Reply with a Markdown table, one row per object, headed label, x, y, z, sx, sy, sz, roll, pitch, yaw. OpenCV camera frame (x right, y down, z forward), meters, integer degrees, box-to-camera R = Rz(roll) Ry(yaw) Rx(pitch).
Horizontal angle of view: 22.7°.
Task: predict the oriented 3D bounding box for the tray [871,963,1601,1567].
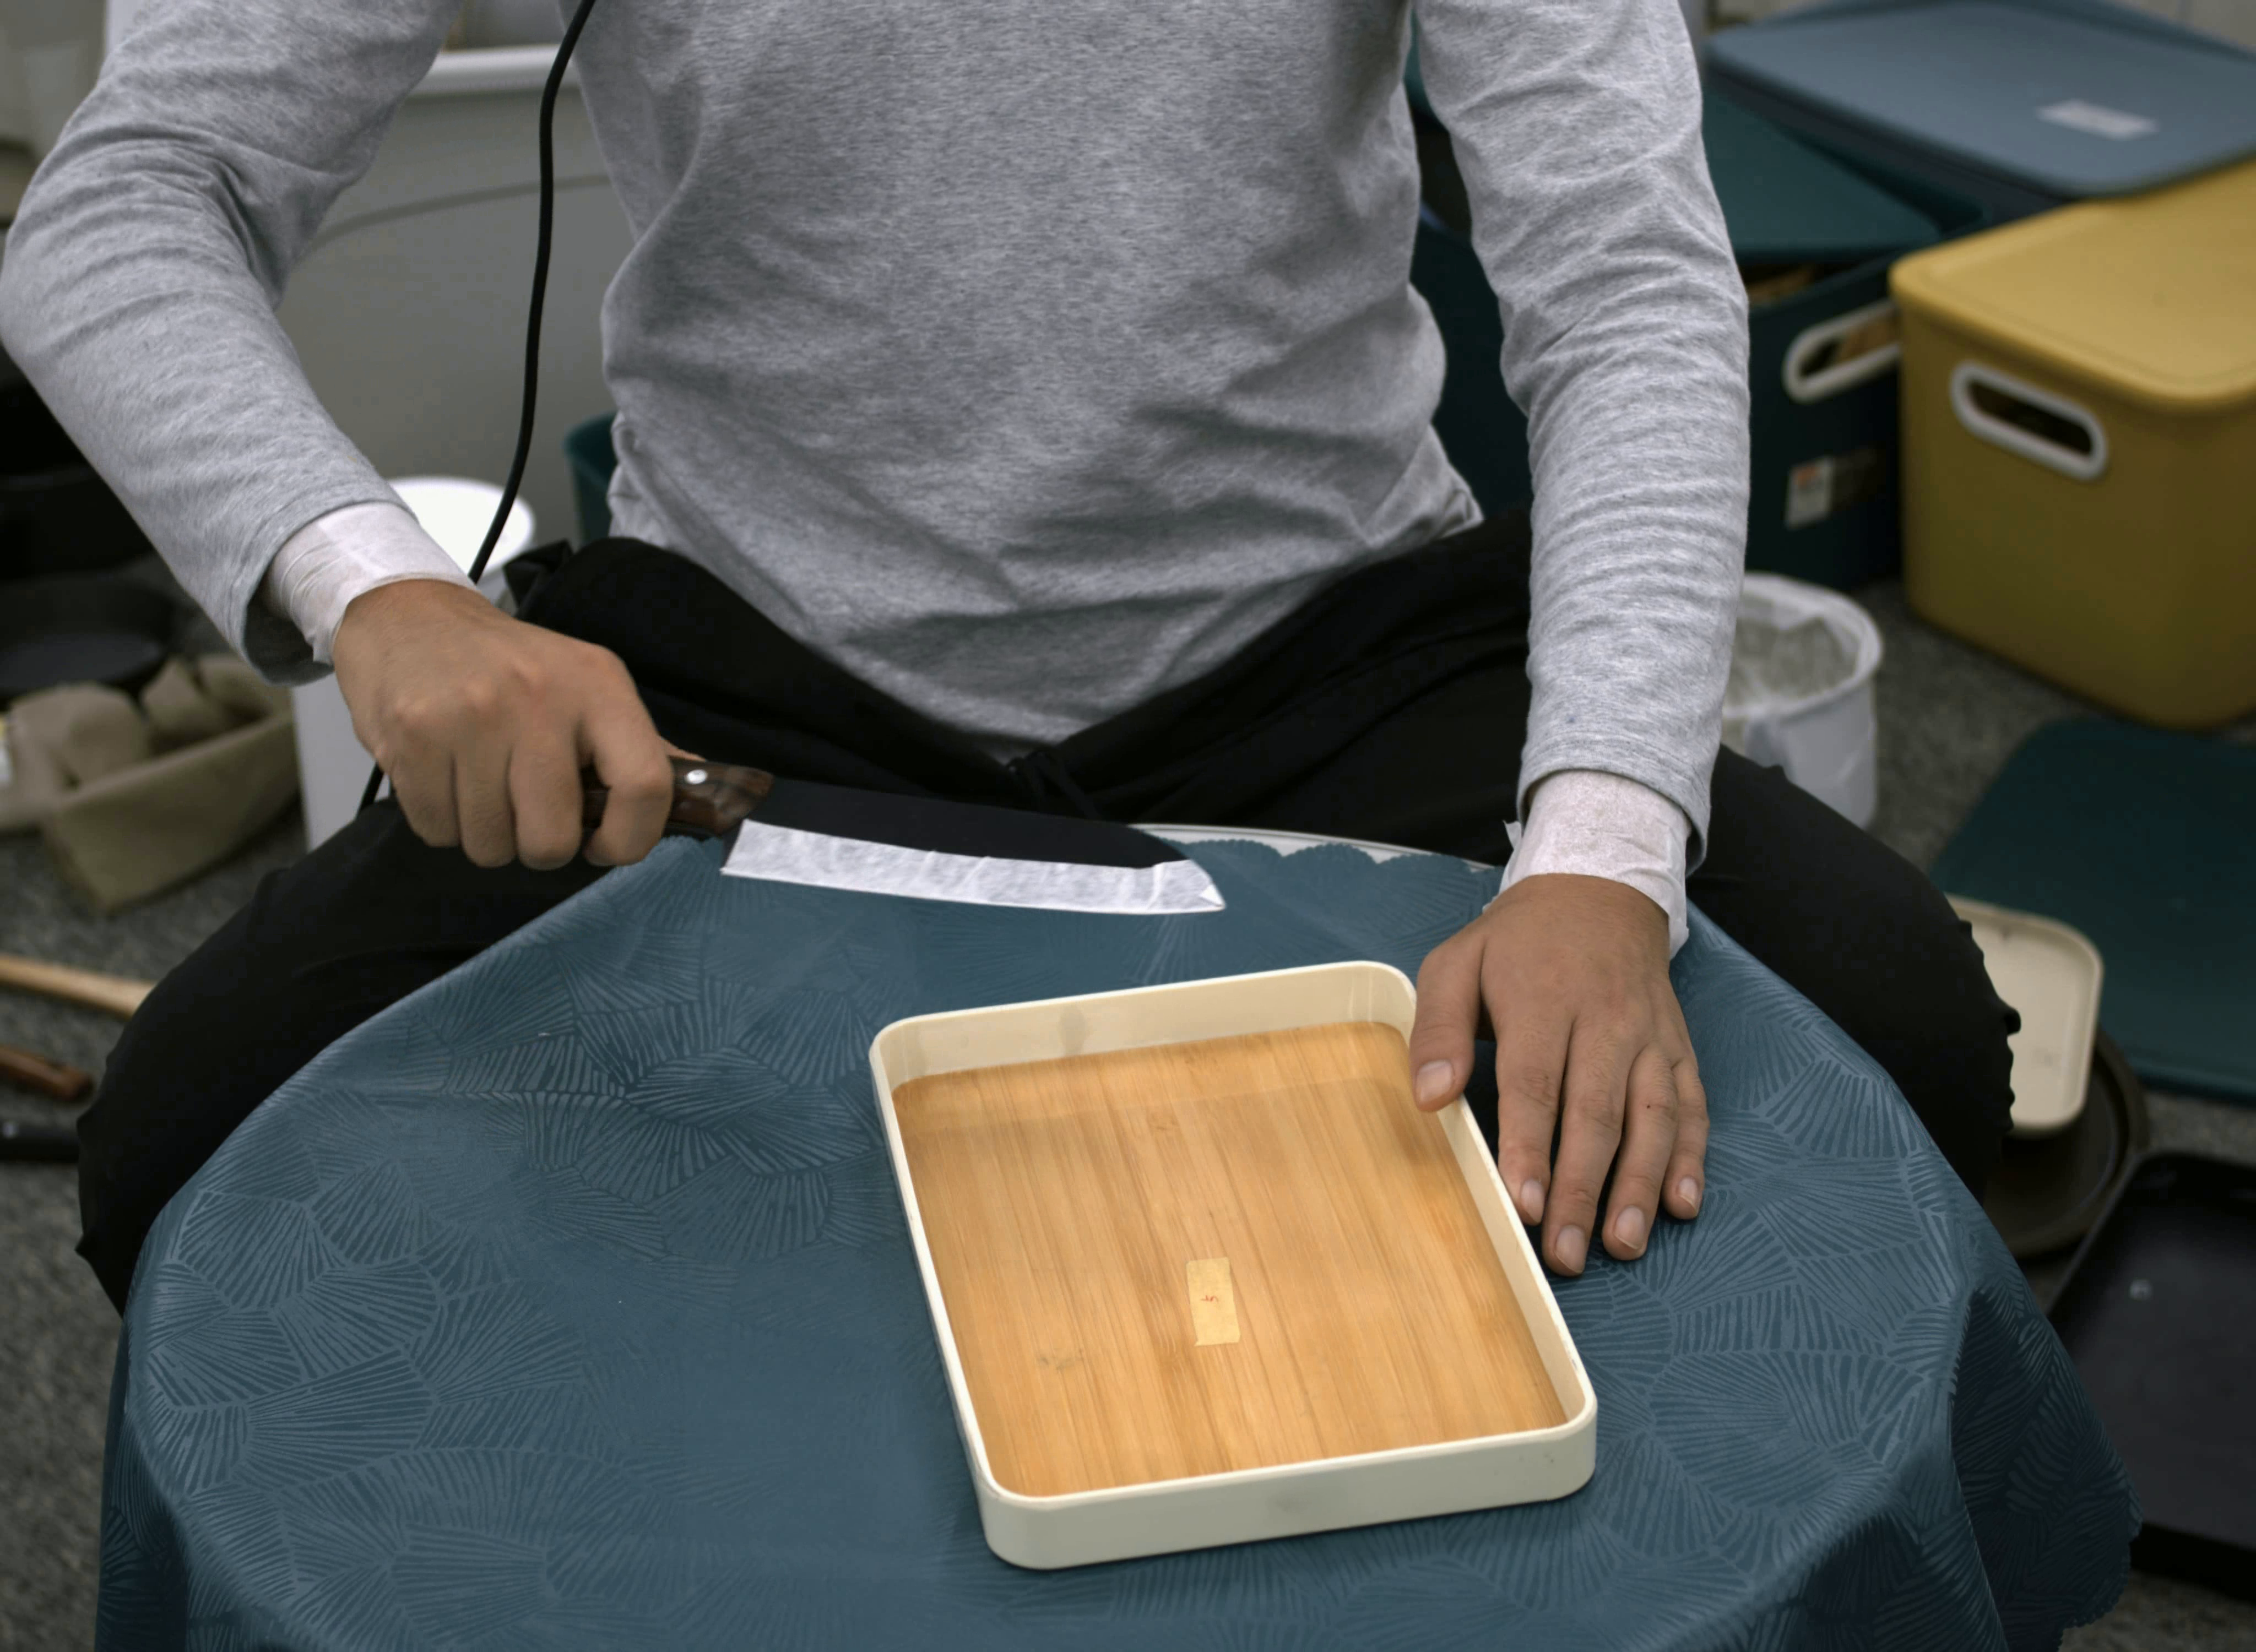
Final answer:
| label | x | y | z | sx | sy | sz | roll | pitch | yaw |
| --- | --- | --- | --- | --- | --- | --- | --- | --- | --- |
| tray | 0.028 | 0.135 | 1.805 | 0.191 | 0.027 | 0.304 | -7 | 27 | -7 |

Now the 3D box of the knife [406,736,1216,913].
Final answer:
| label | x | y | z | sx | sy | sz | roll | pitch | yaw |
| --- | --- | --- | --- | --- | --- | --- | --- | --- | --- |
| knife | -0.107 | 0.001 | 1.835 | 0.287 | 0.020 | 0.051 | 9 | 49 | 17 |
